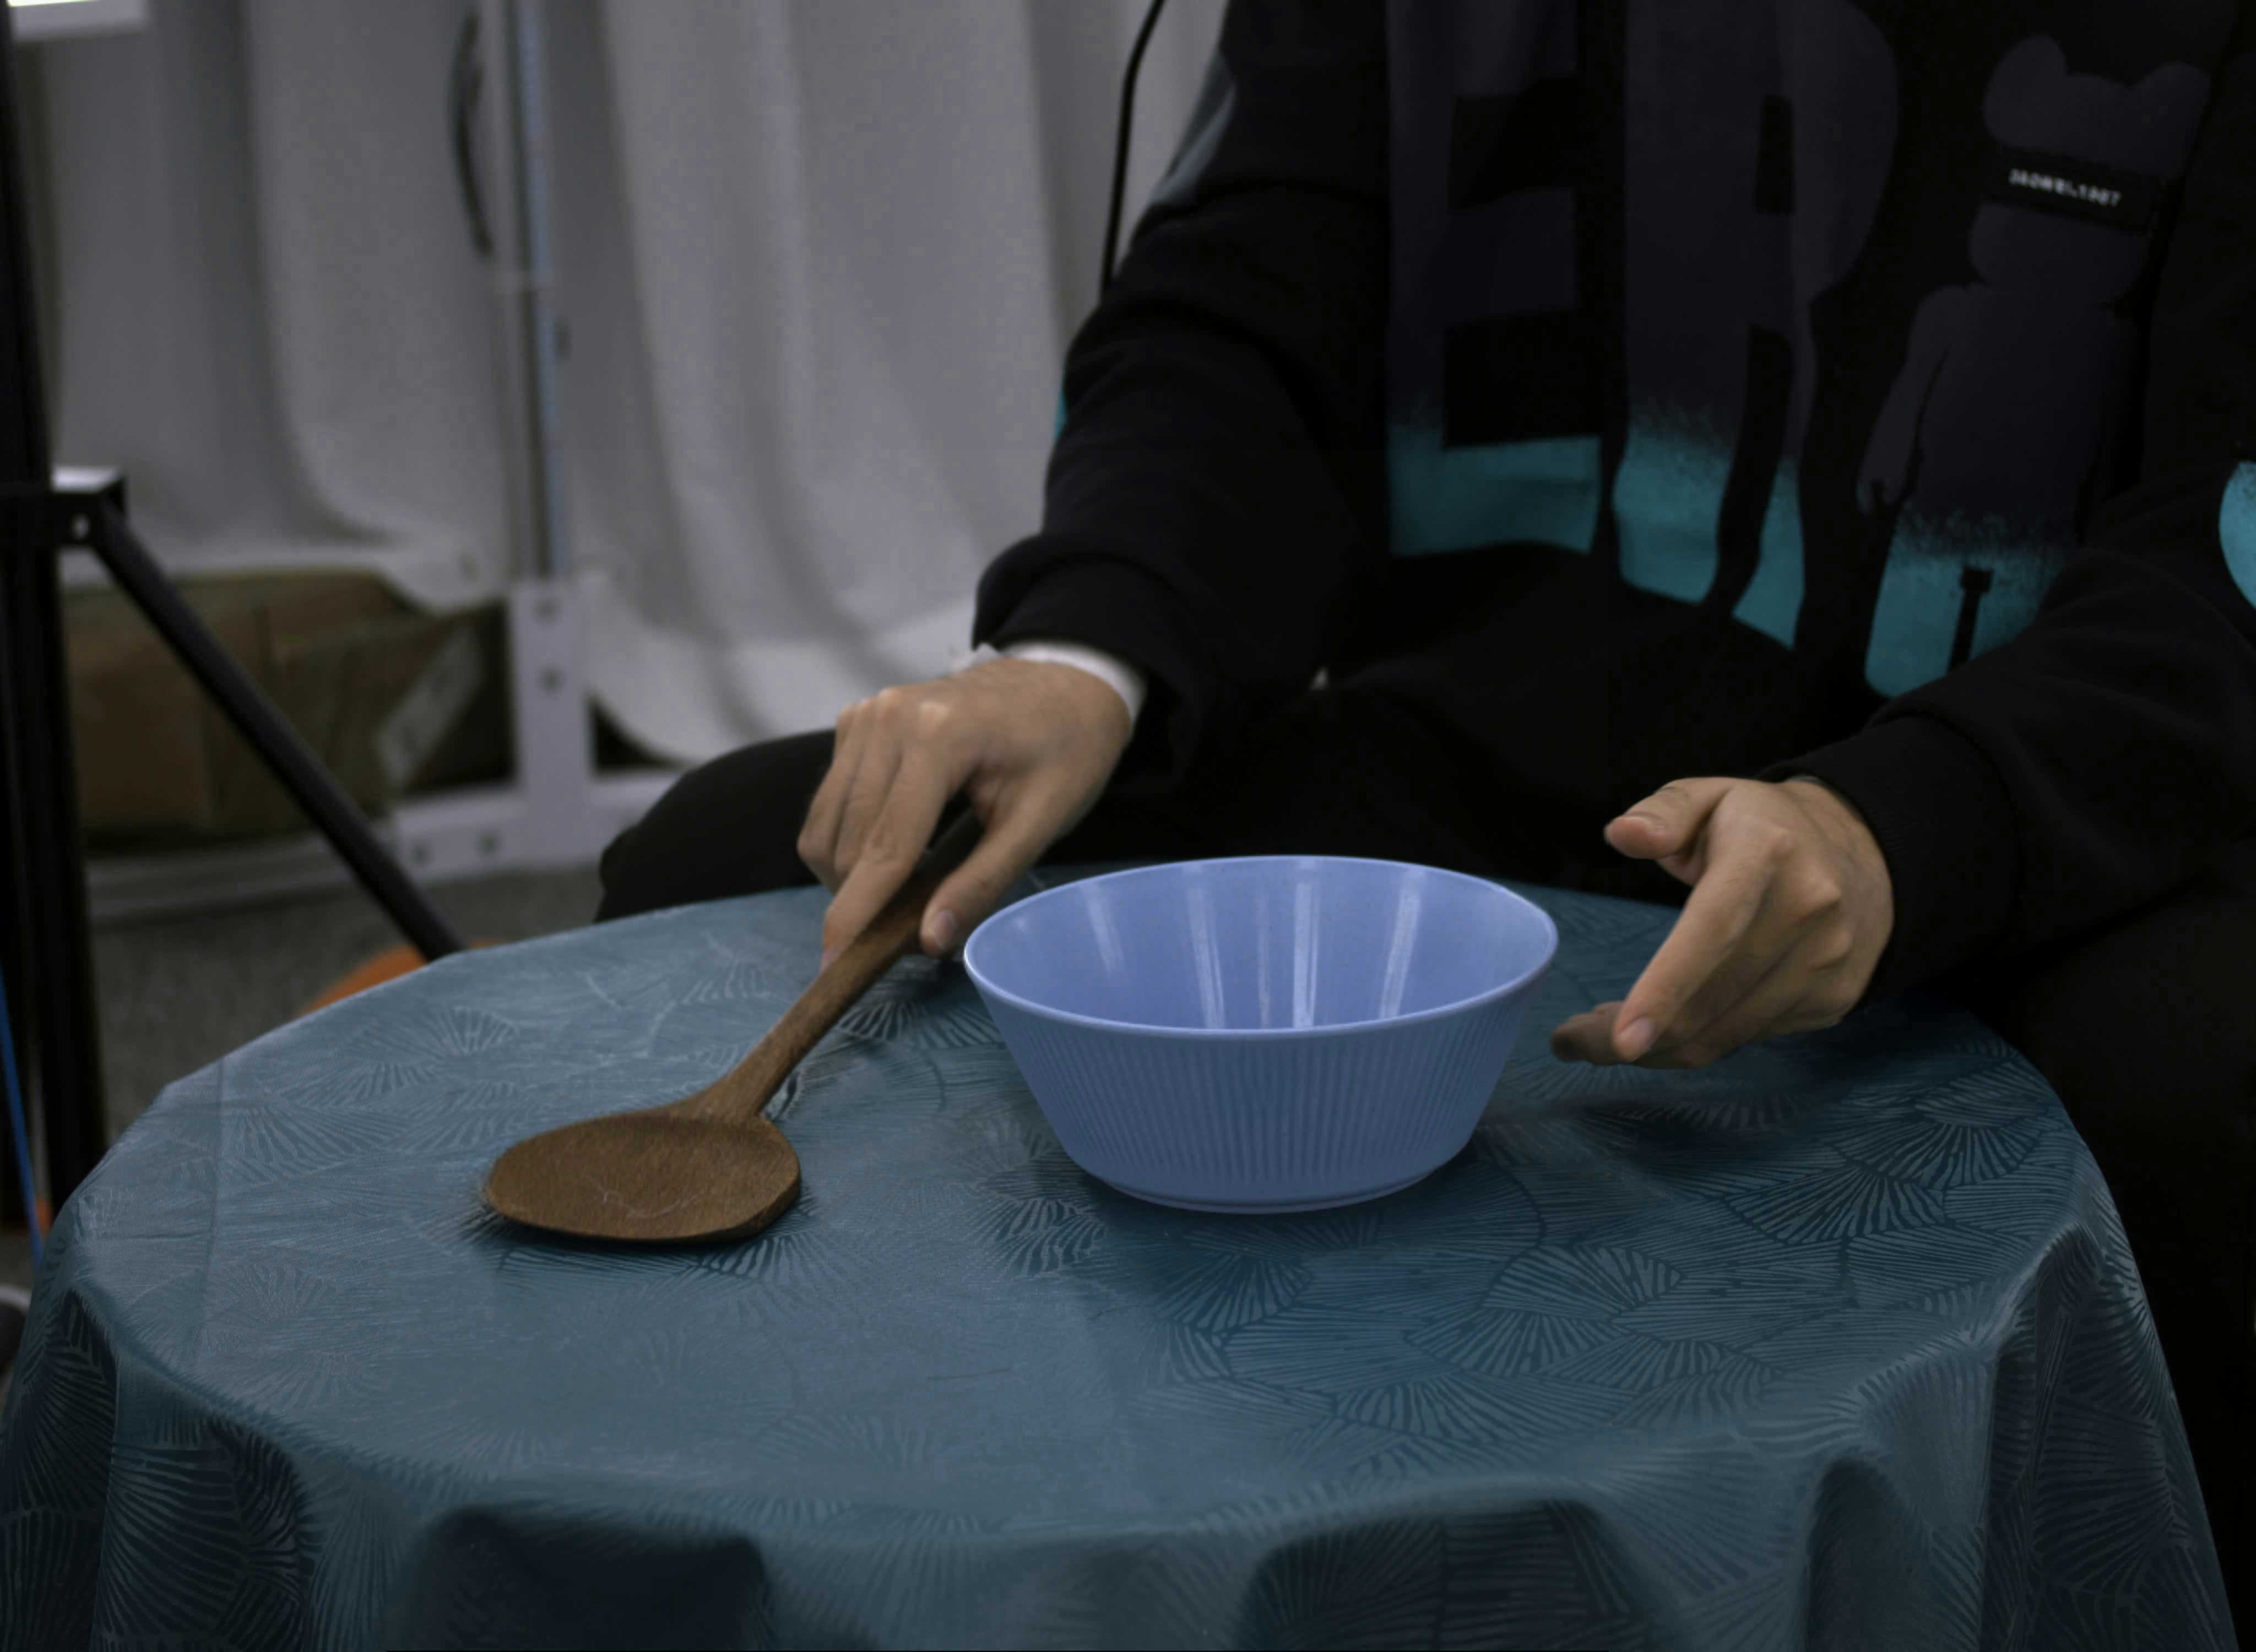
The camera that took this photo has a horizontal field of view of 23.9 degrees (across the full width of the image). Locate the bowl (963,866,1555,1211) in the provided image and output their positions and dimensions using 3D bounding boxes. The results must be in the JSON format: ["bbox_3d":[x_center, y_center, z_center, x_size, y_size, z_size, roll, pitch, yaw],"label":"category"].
[{"bbox_3d":[0.039,0.065,1.575,0.175,0.070,0.177,-2,15,-1],"label":"bowl"}]

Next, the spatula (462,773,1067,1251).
[{"bbox_3d":[-0.093,0.051,1.698,0.097,0.016,0.382,7,24,19],"label":"spatula"}]
